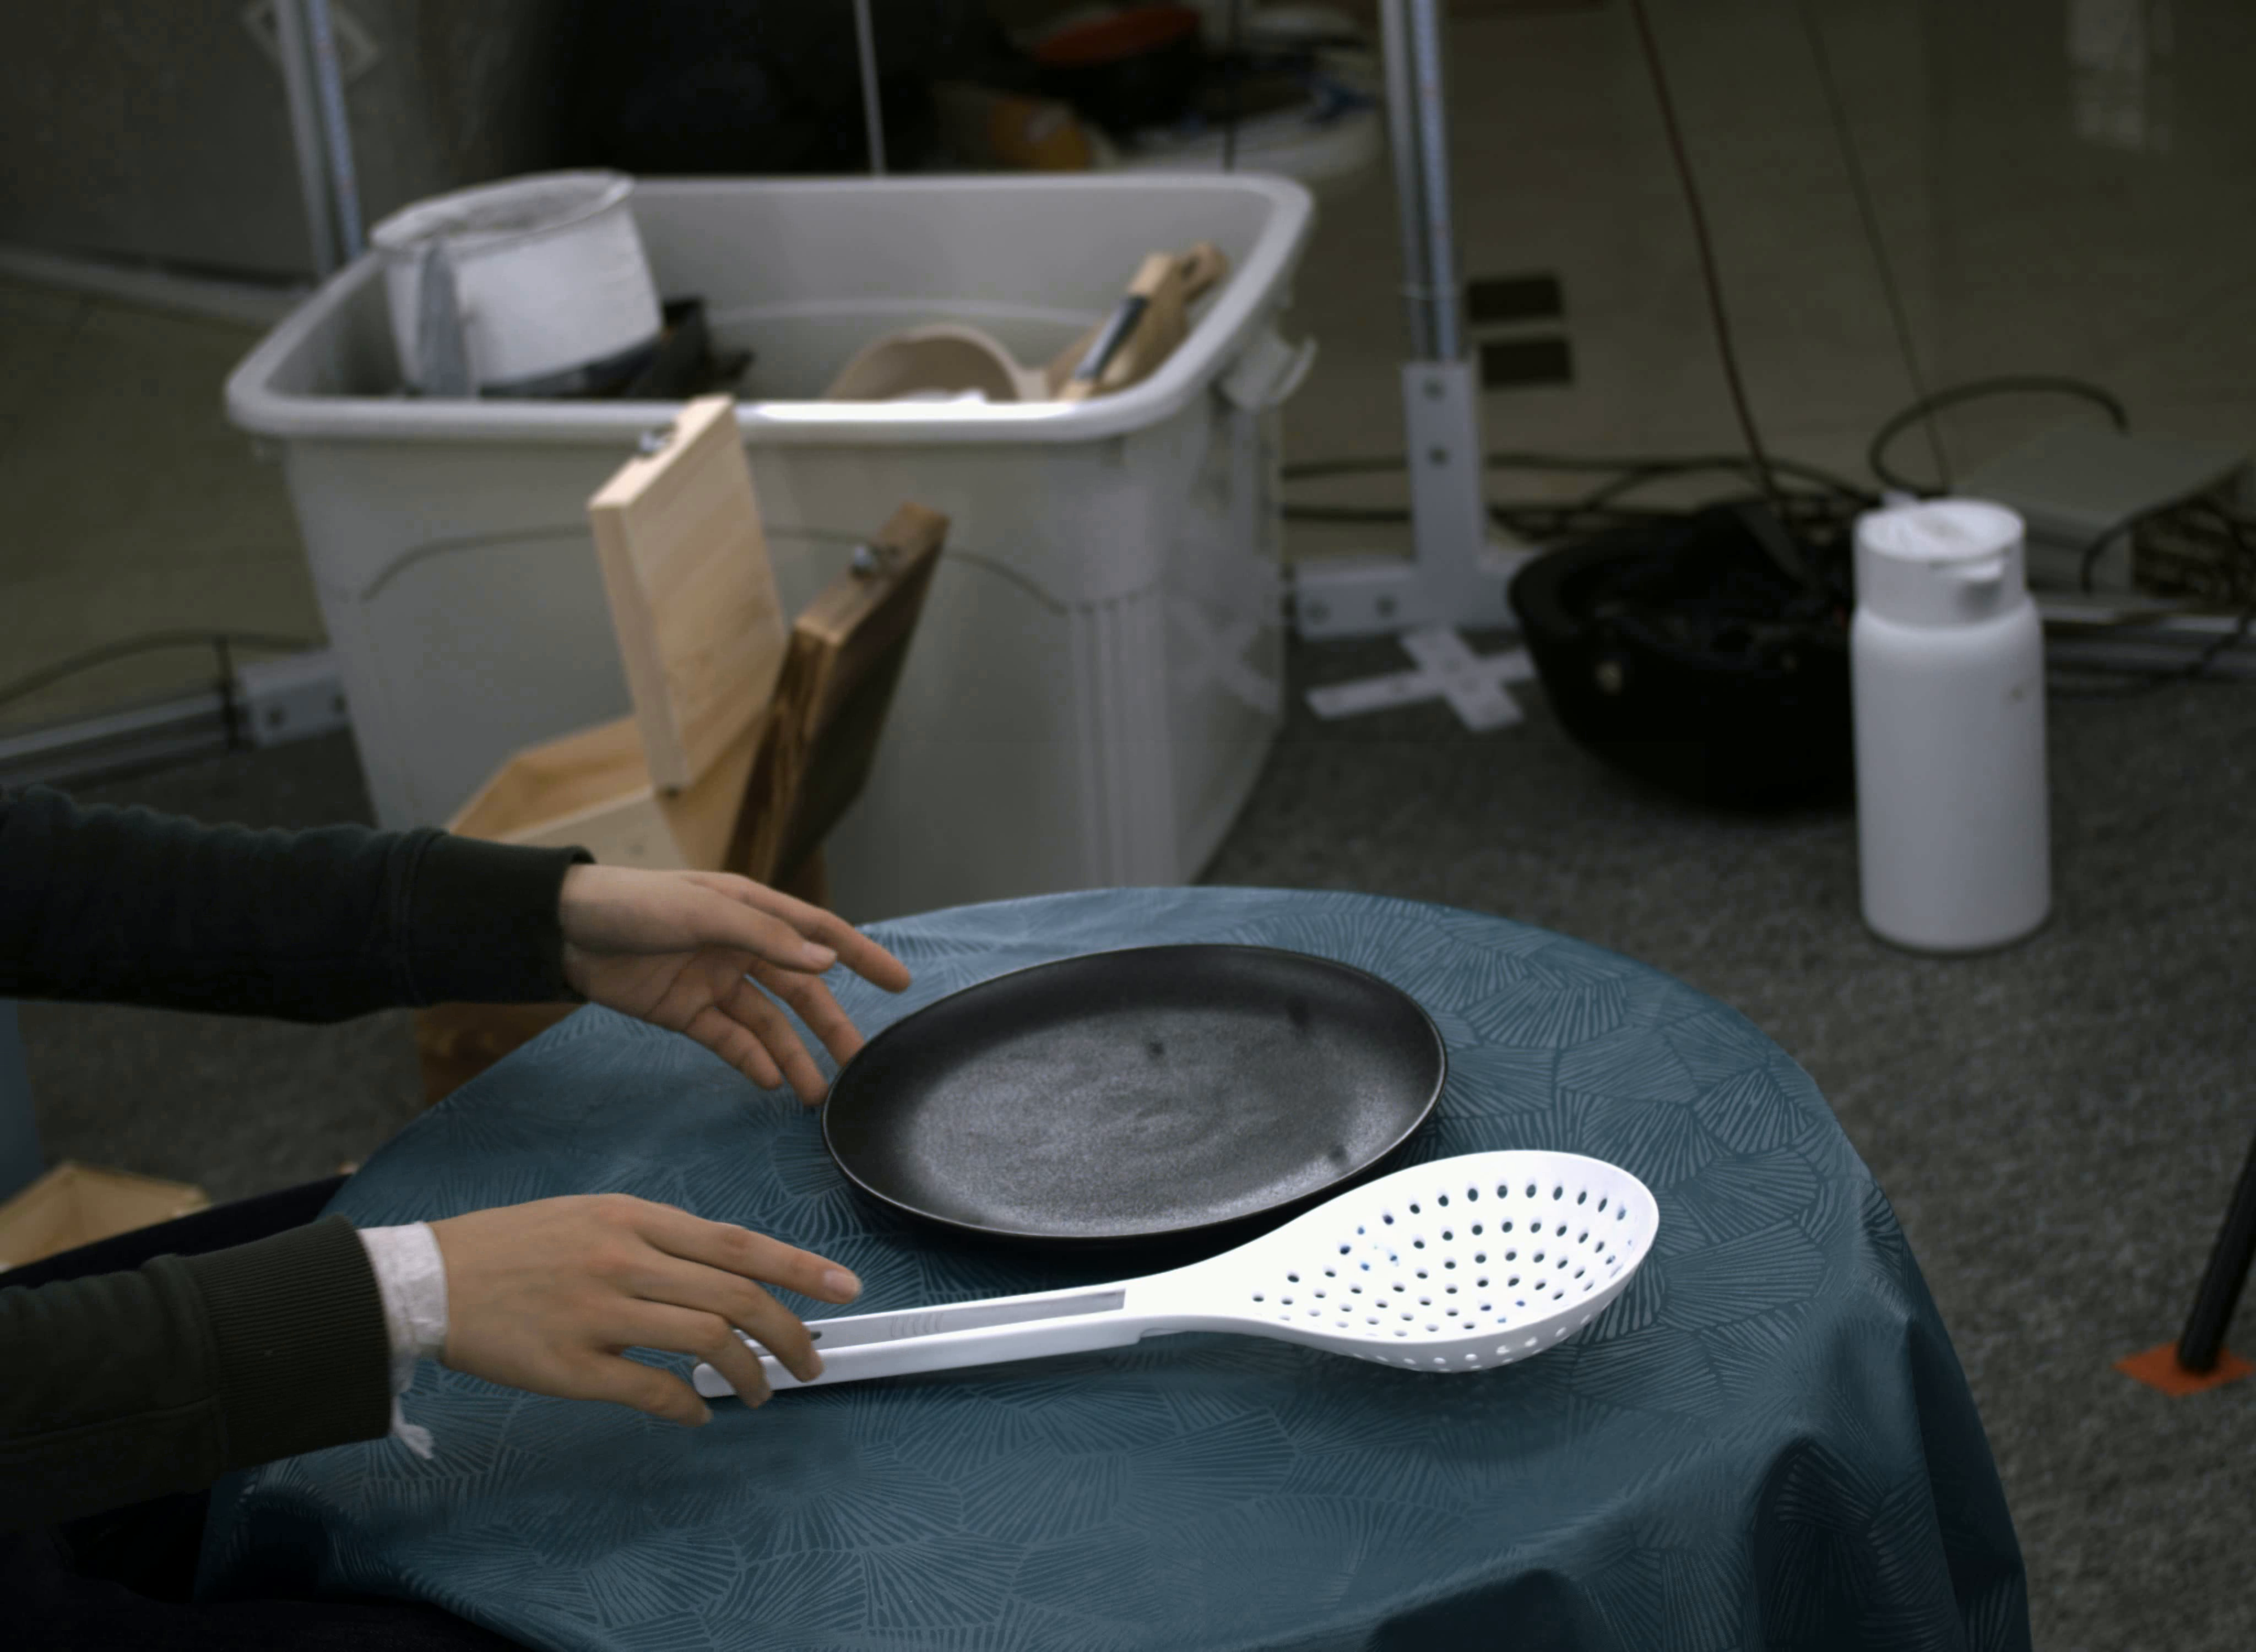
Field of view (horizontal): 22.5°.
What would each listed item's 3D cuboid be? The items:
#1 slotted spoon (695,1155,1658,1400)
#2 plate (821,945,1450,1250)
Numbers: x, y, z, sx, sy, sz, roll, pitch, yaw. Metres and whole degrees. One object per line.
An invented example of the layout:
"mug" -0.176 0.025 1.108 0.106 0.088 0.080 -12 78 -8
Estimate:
"slotted spoon" 0.016 0.171 2.026 0.349 0.046 0.134 -4 23 7
"plate" 0.004 0.109 2.188 0.244 0.024 0.241 -5 25 3
